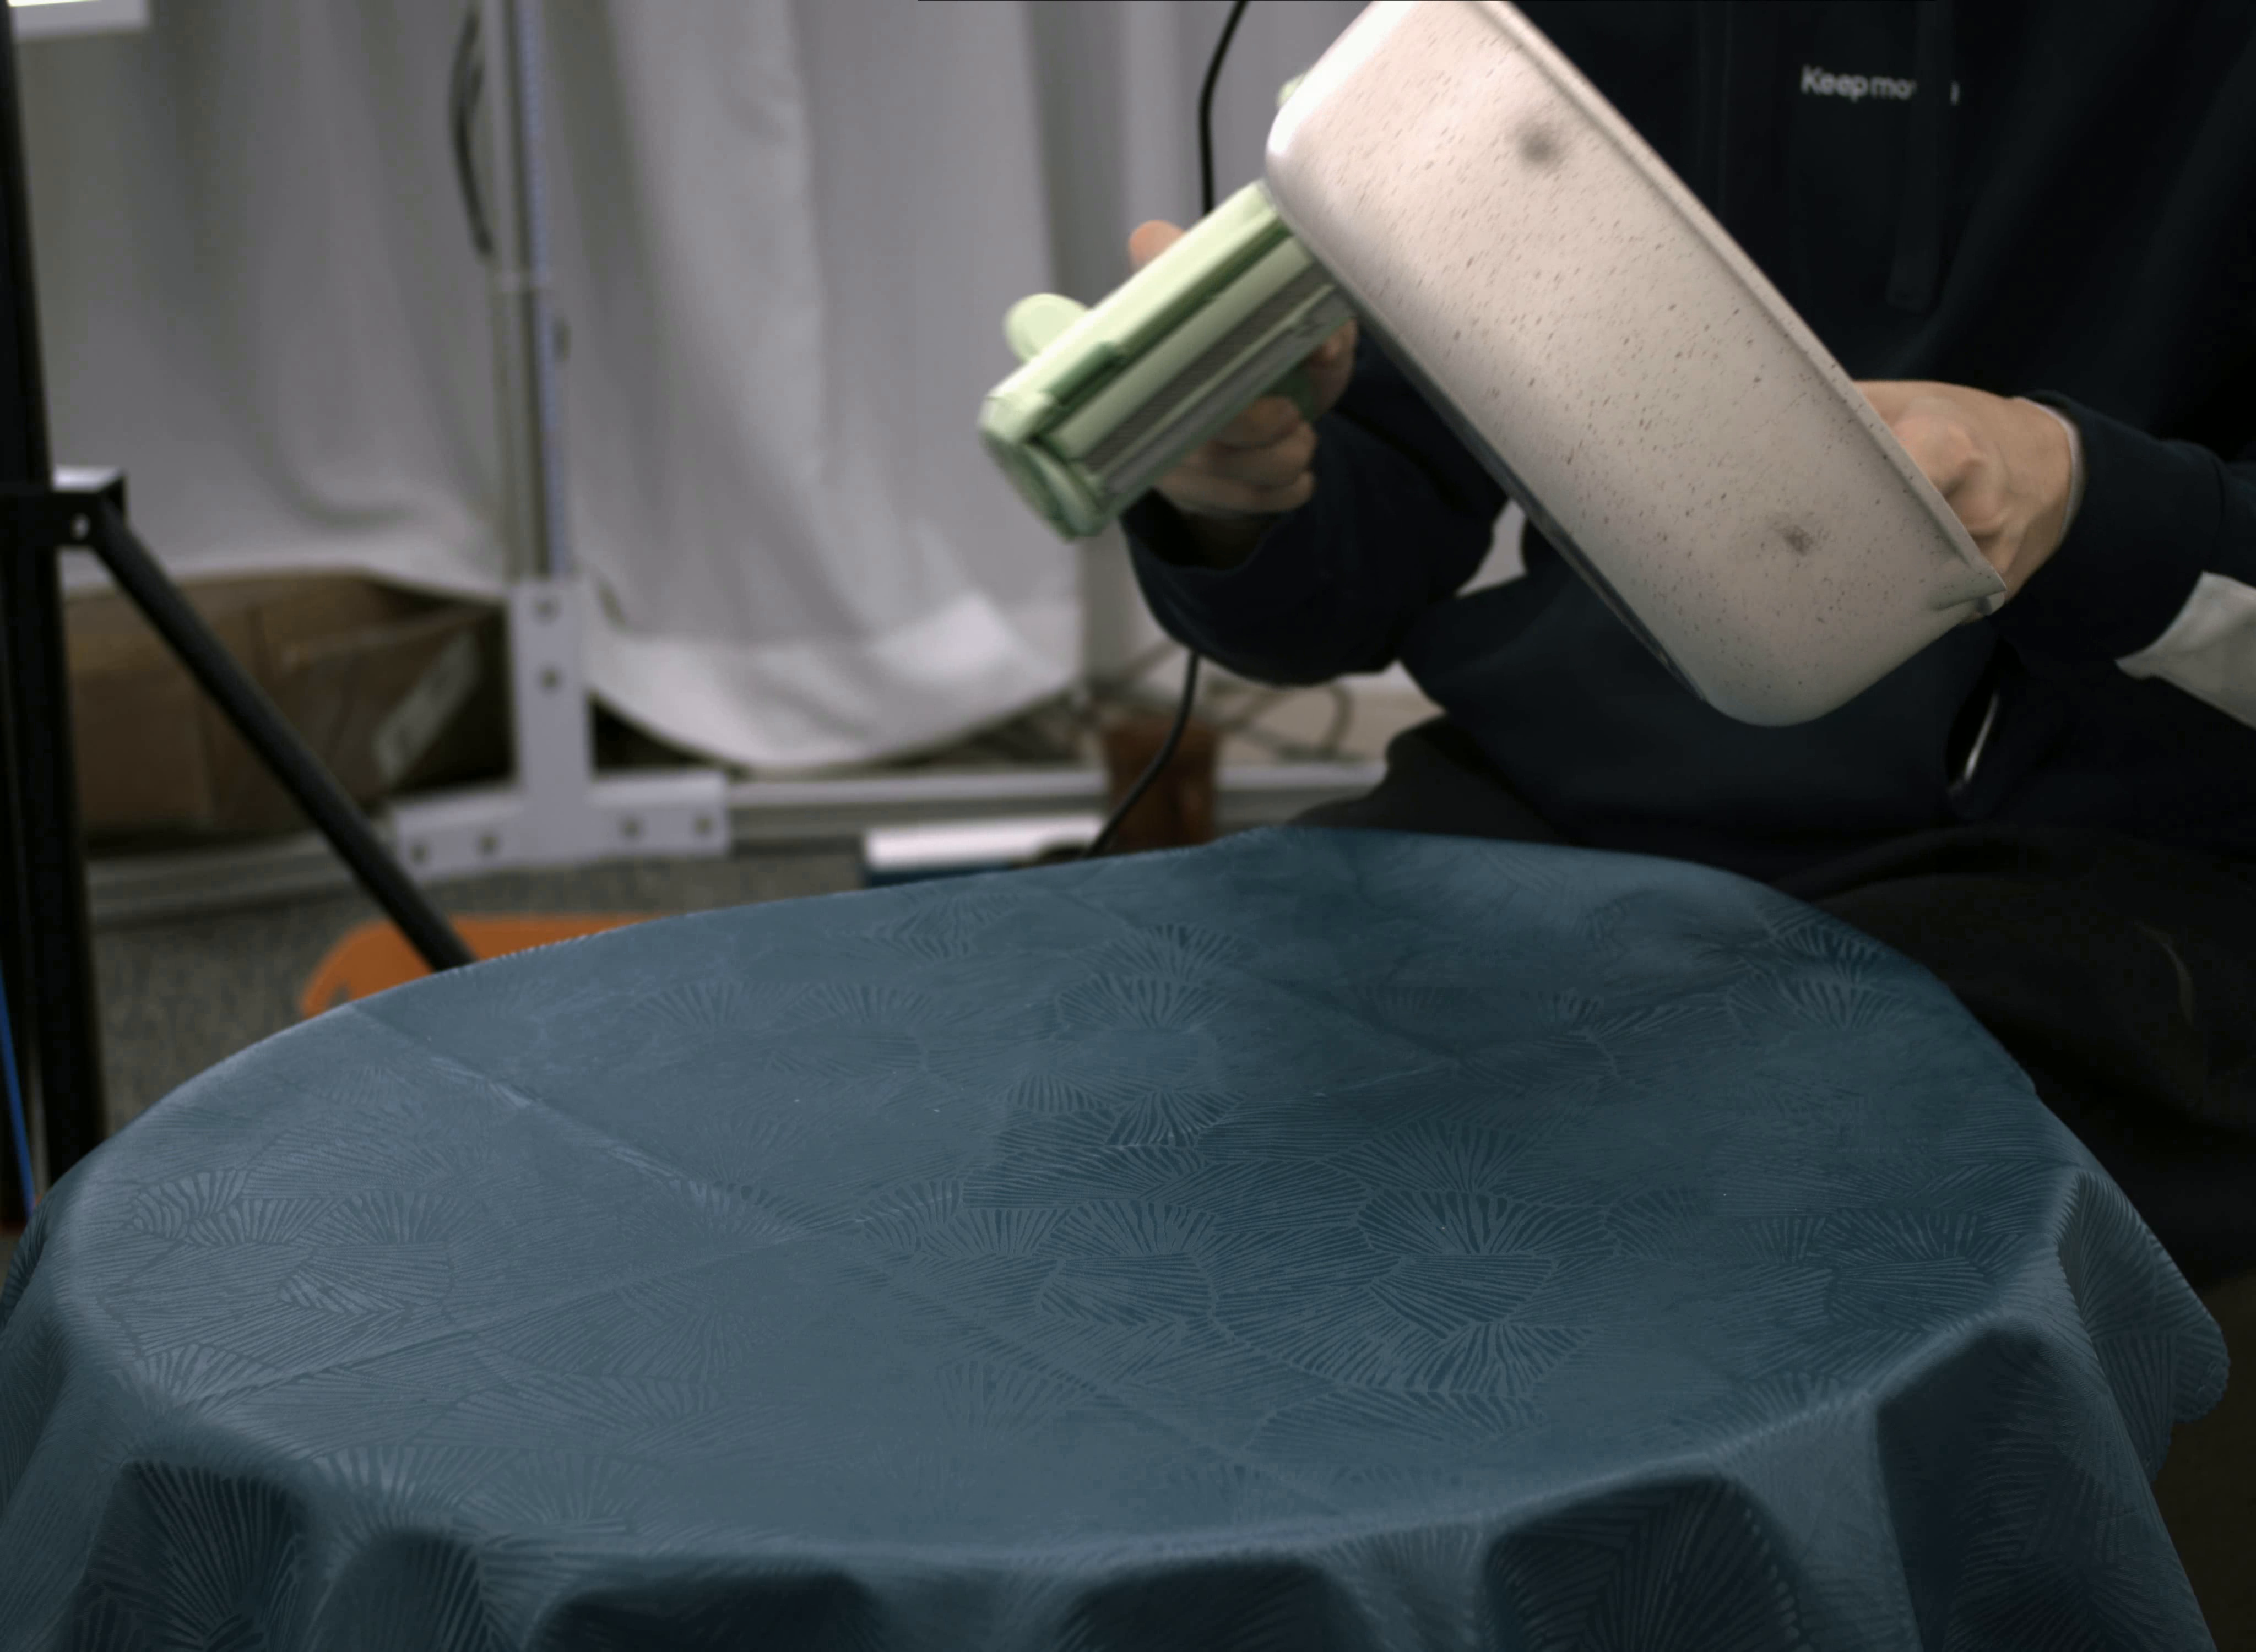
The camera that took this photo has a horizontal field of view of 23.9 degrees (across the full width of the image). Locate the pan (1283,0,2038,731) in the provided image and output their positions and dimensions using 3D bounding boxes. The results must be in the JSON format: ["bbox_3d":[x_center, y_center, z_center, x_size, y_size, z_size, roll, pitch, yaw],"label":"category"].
[{"bbox_3d":[0.174,-0.108,1.582,0.268,0.102,0.426,49,3,26],"label":"pan"}]

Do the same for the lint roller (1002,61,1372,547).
[{"bbox_3d":[0.035,-0.167,1.746,0.197,0.082,0.183,-41,-3,-10],"label":"lint roller"}]
